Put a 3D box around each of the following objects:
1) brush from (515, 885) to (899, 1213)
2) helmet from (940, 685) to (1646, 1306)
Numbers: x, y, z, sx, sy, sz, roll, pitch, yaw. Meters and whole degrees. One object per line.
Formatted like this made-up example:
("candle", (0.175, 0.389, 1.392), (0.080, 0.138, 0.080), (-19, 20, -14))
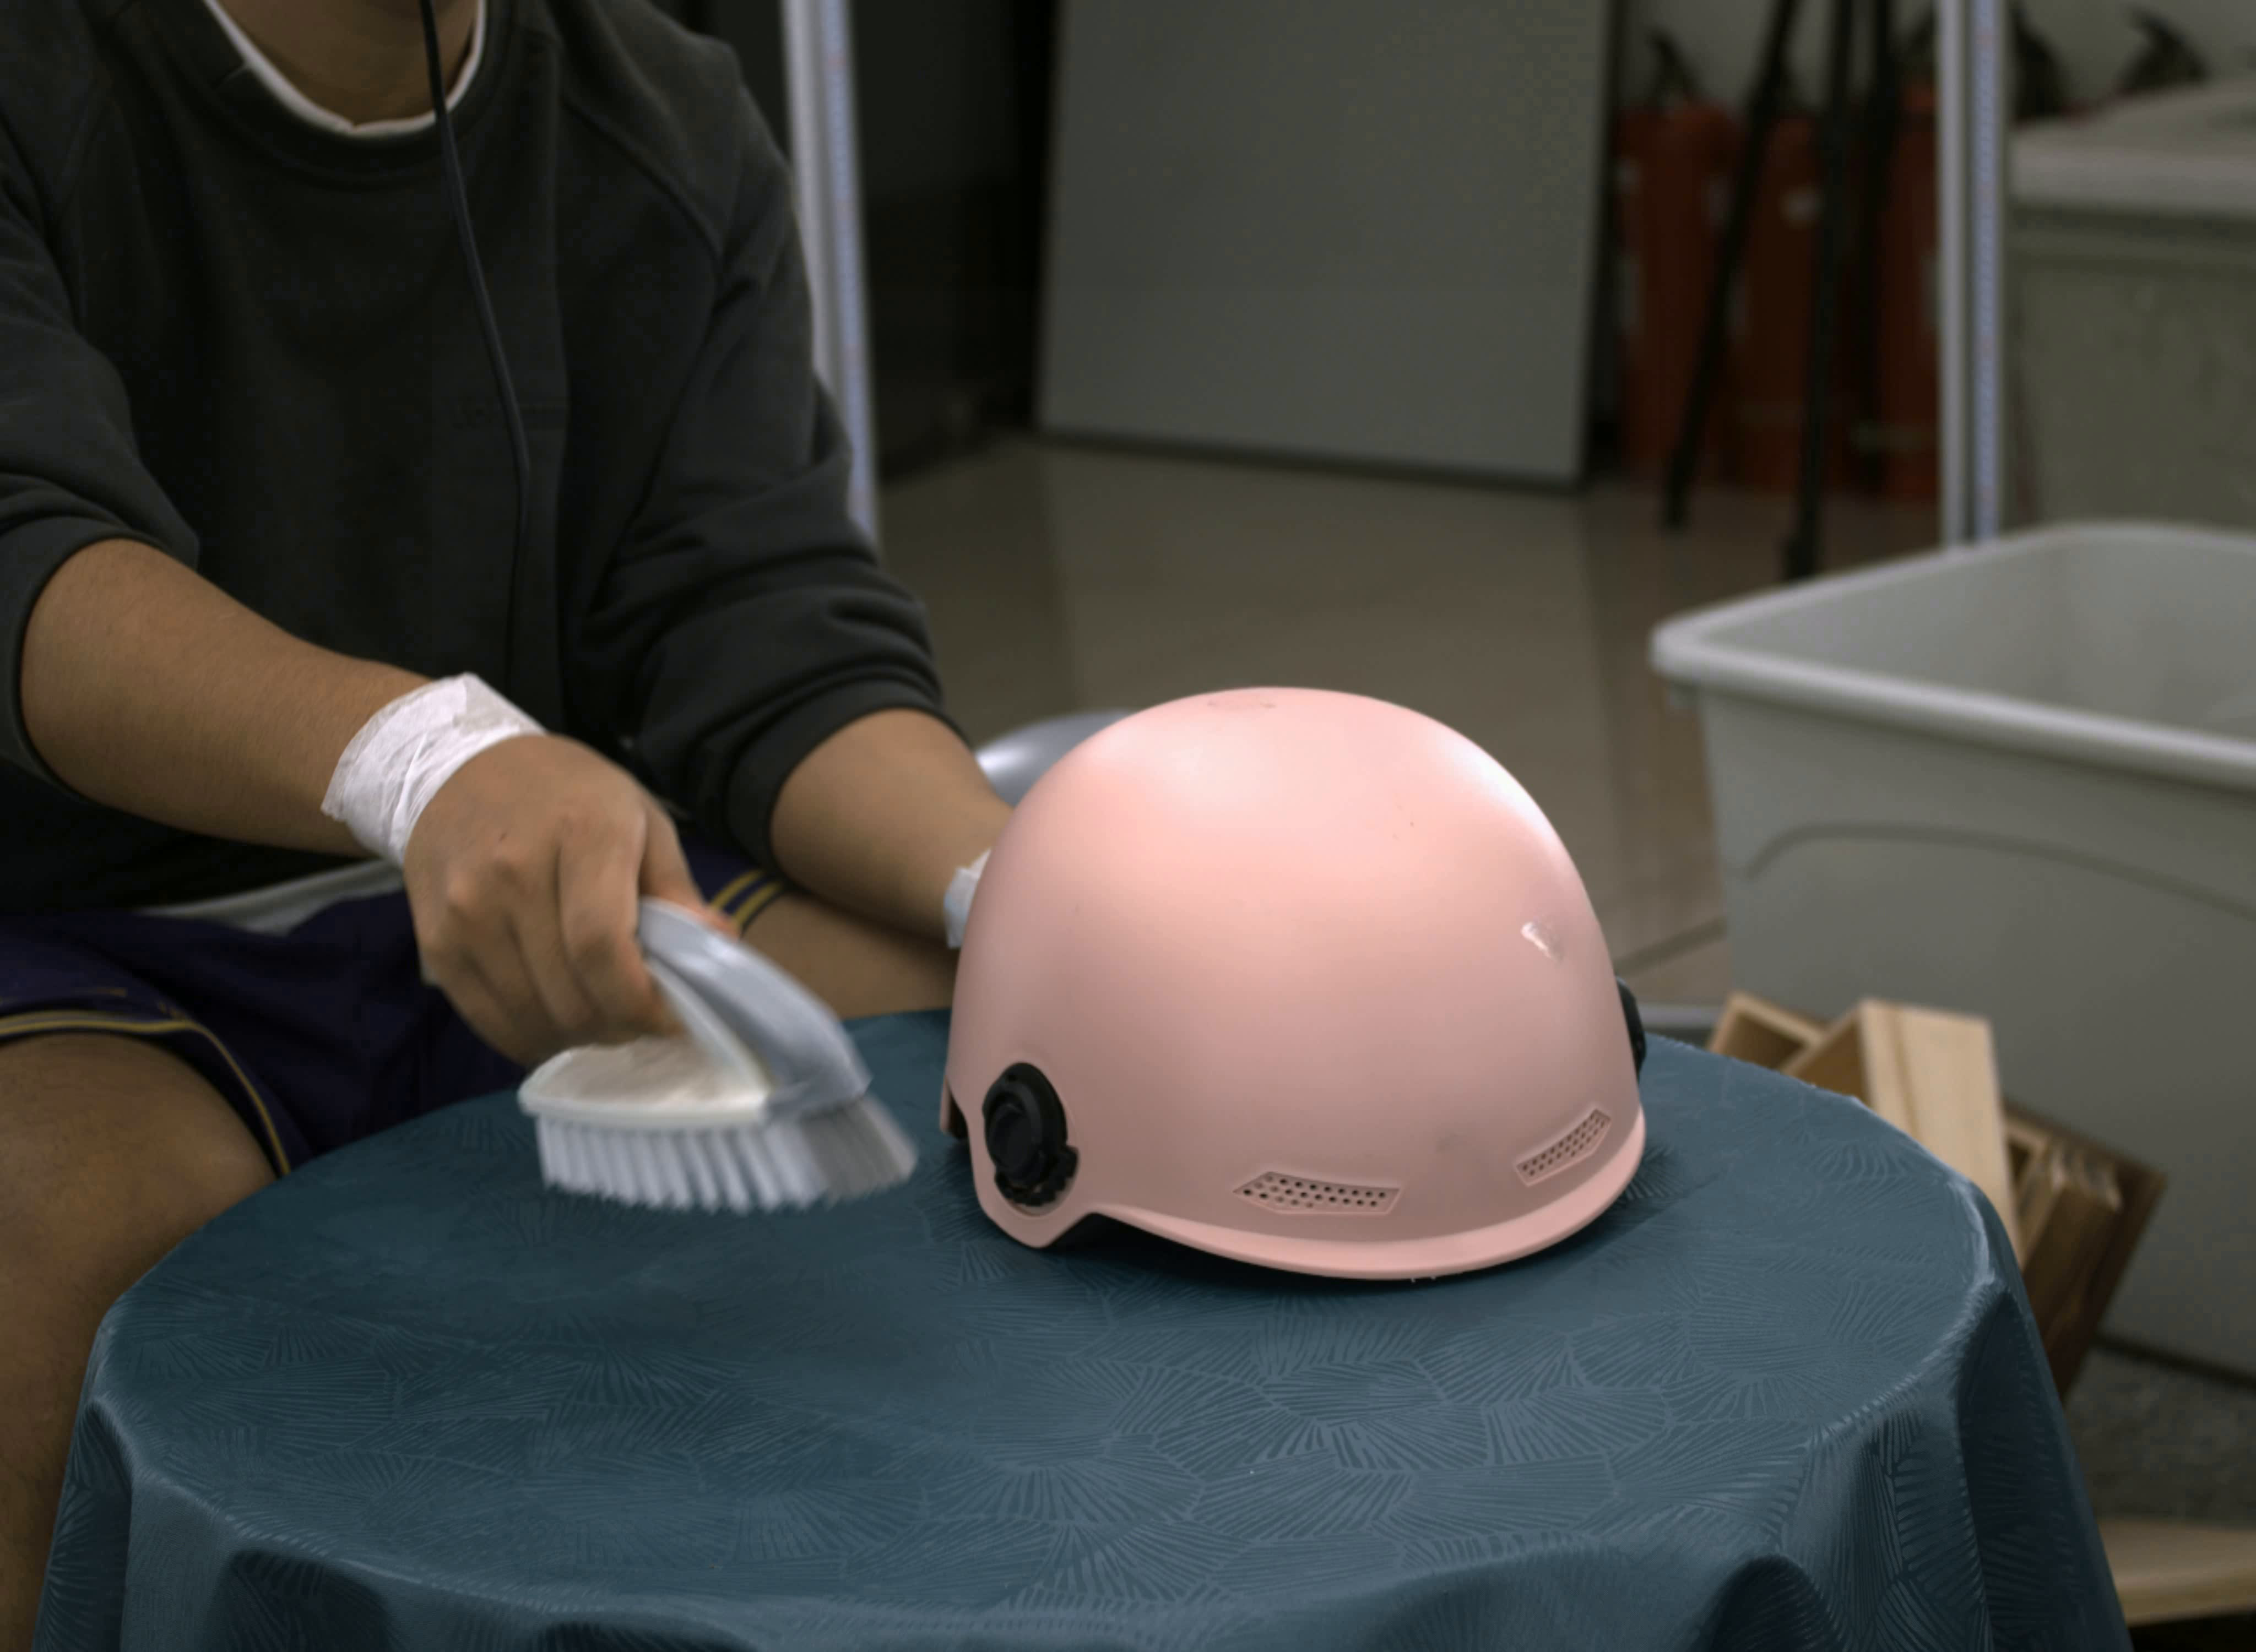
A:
("brush", (-0.130, 0.064, 1.620), (0.060, 0.094, 0.177), (-32, 22, -27))
("helmet", (0.054, 0.042, 1.756), (0.229, 0.160, 0.269), (-9, 20, -21))
